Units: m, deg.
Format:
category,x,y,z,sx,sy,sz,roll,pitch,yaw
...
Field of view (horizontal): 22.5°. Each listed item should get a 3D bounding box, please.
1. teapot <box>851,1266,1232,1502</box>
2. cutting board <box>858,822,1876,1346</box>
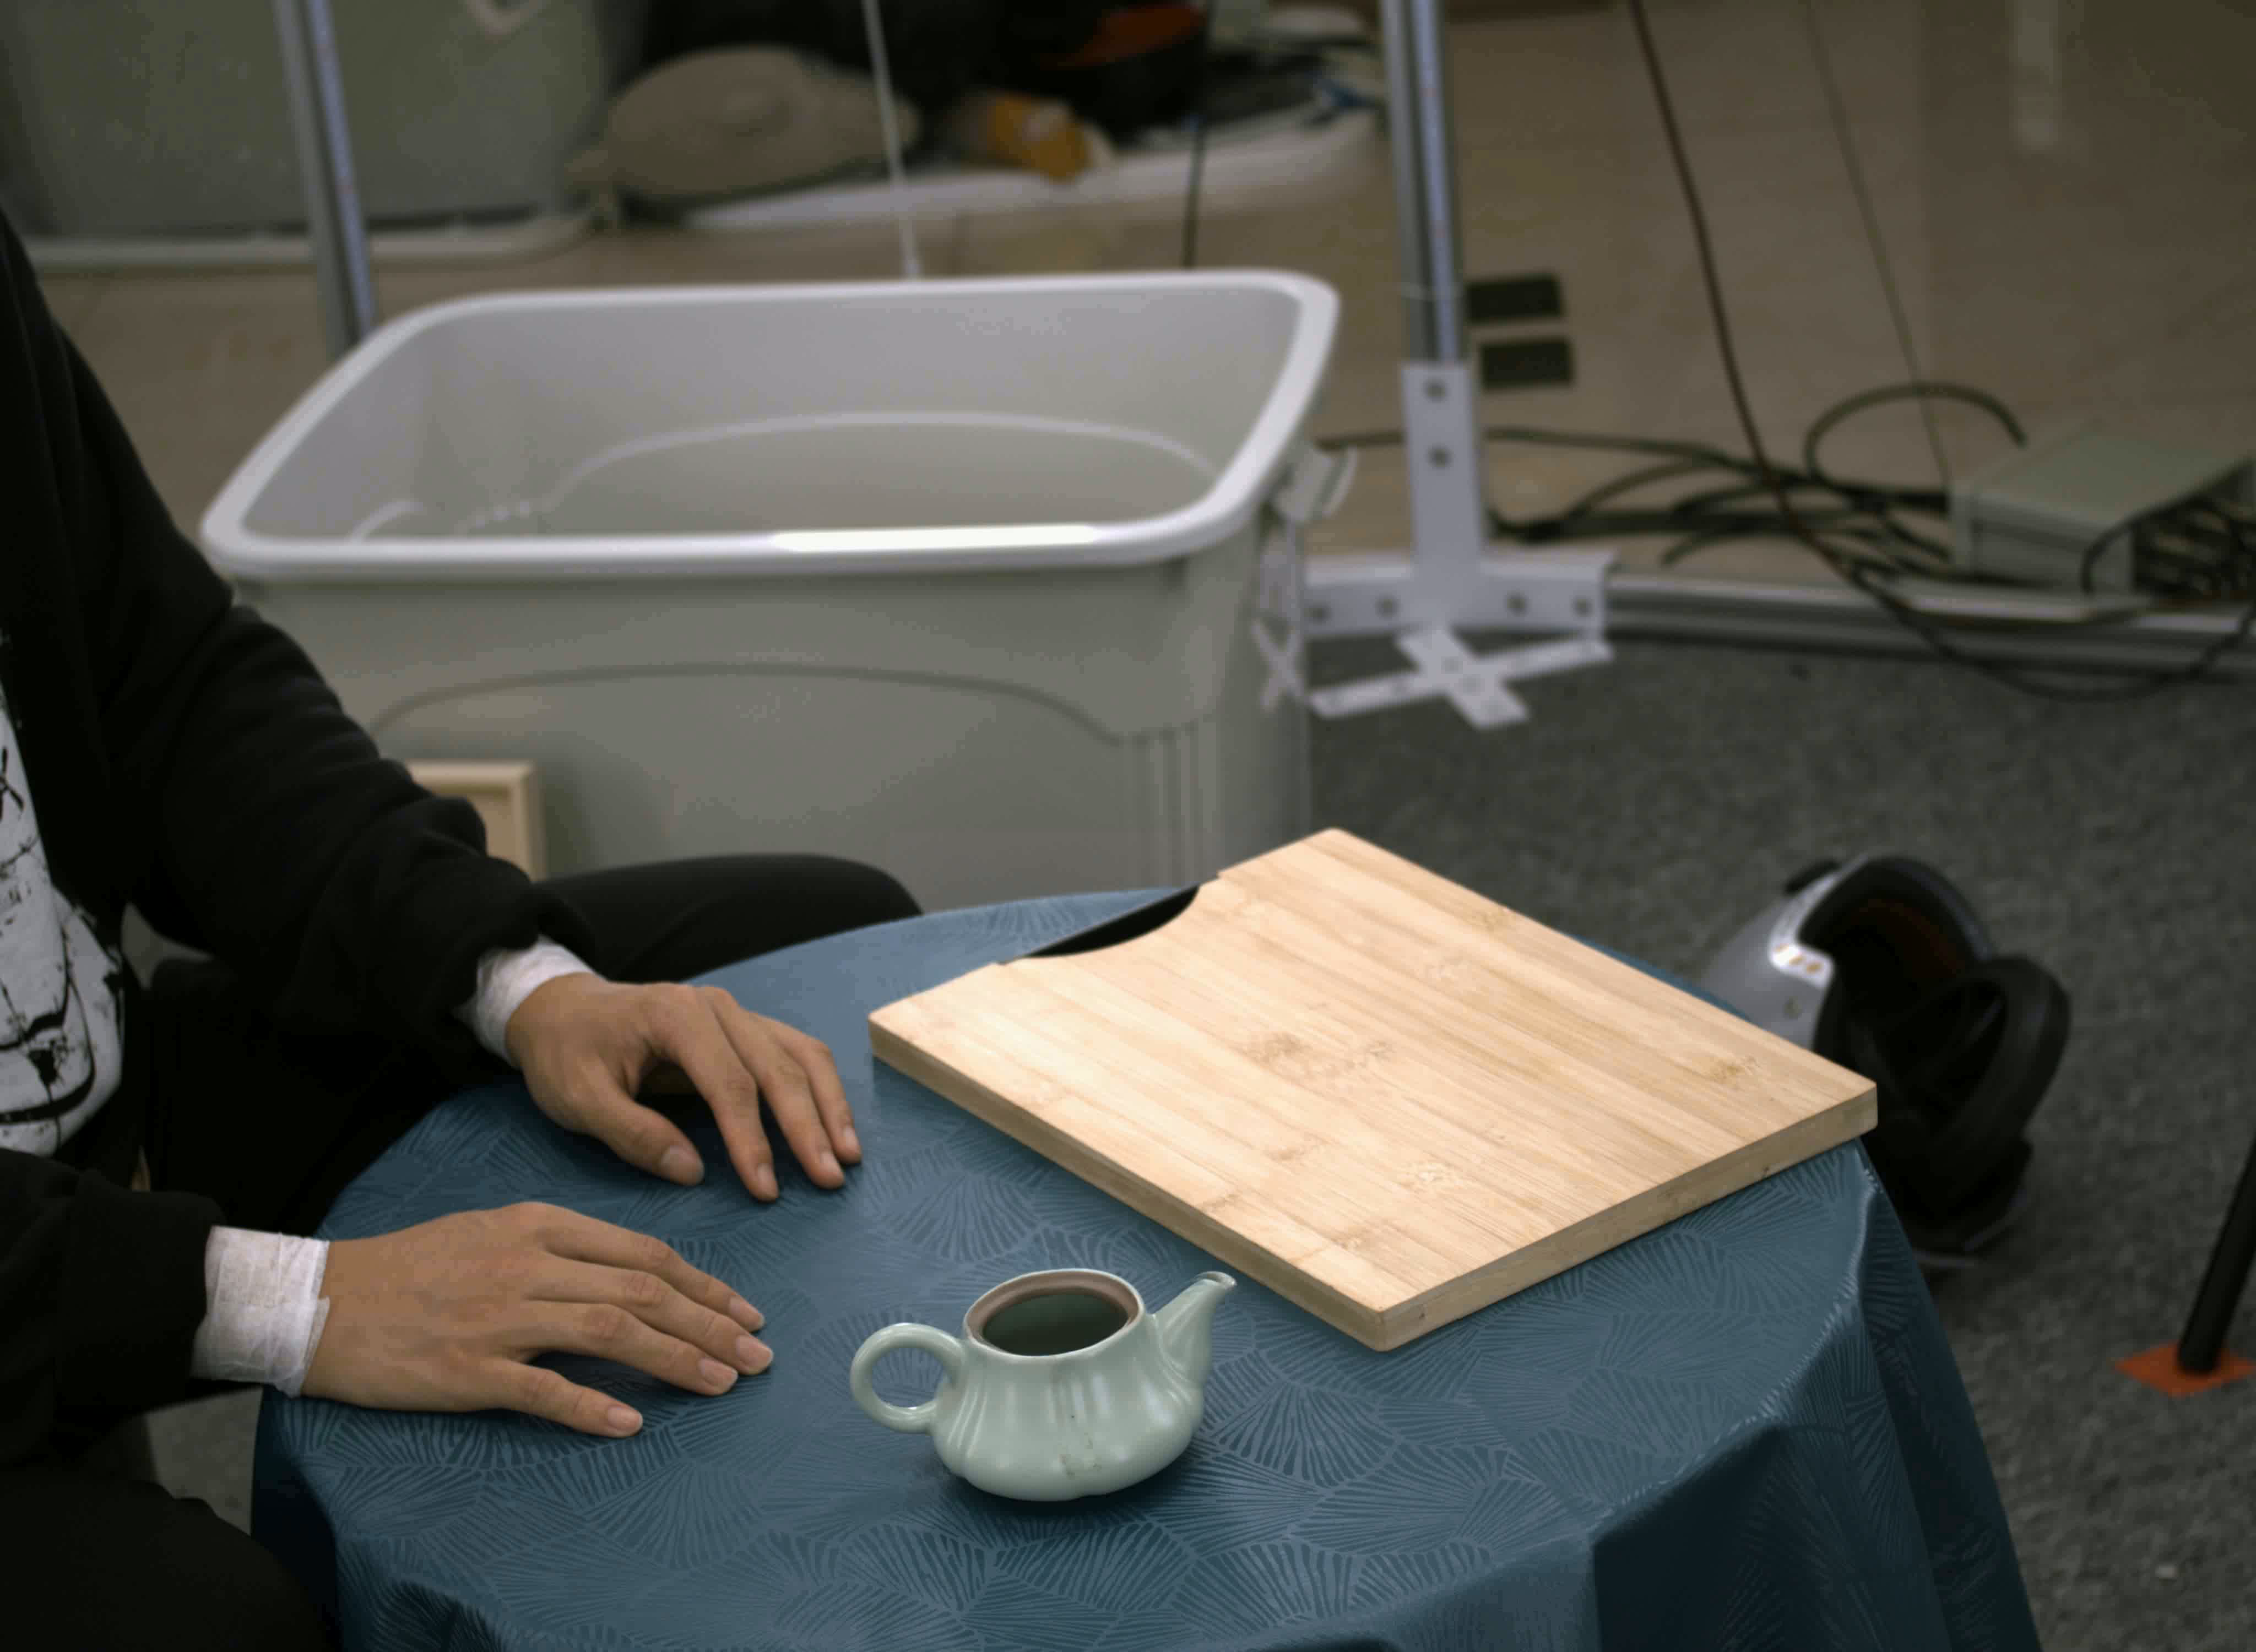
category,x,y,z,sx,sy,sz,roll,pitch,yaw
teapot,-0.028,0.193,1.970,0.136,0.062,0.095,-10,27,-8
cutting board,0.086,0.094,2.207,0.249,0.024,0.345,-22,29,-30
